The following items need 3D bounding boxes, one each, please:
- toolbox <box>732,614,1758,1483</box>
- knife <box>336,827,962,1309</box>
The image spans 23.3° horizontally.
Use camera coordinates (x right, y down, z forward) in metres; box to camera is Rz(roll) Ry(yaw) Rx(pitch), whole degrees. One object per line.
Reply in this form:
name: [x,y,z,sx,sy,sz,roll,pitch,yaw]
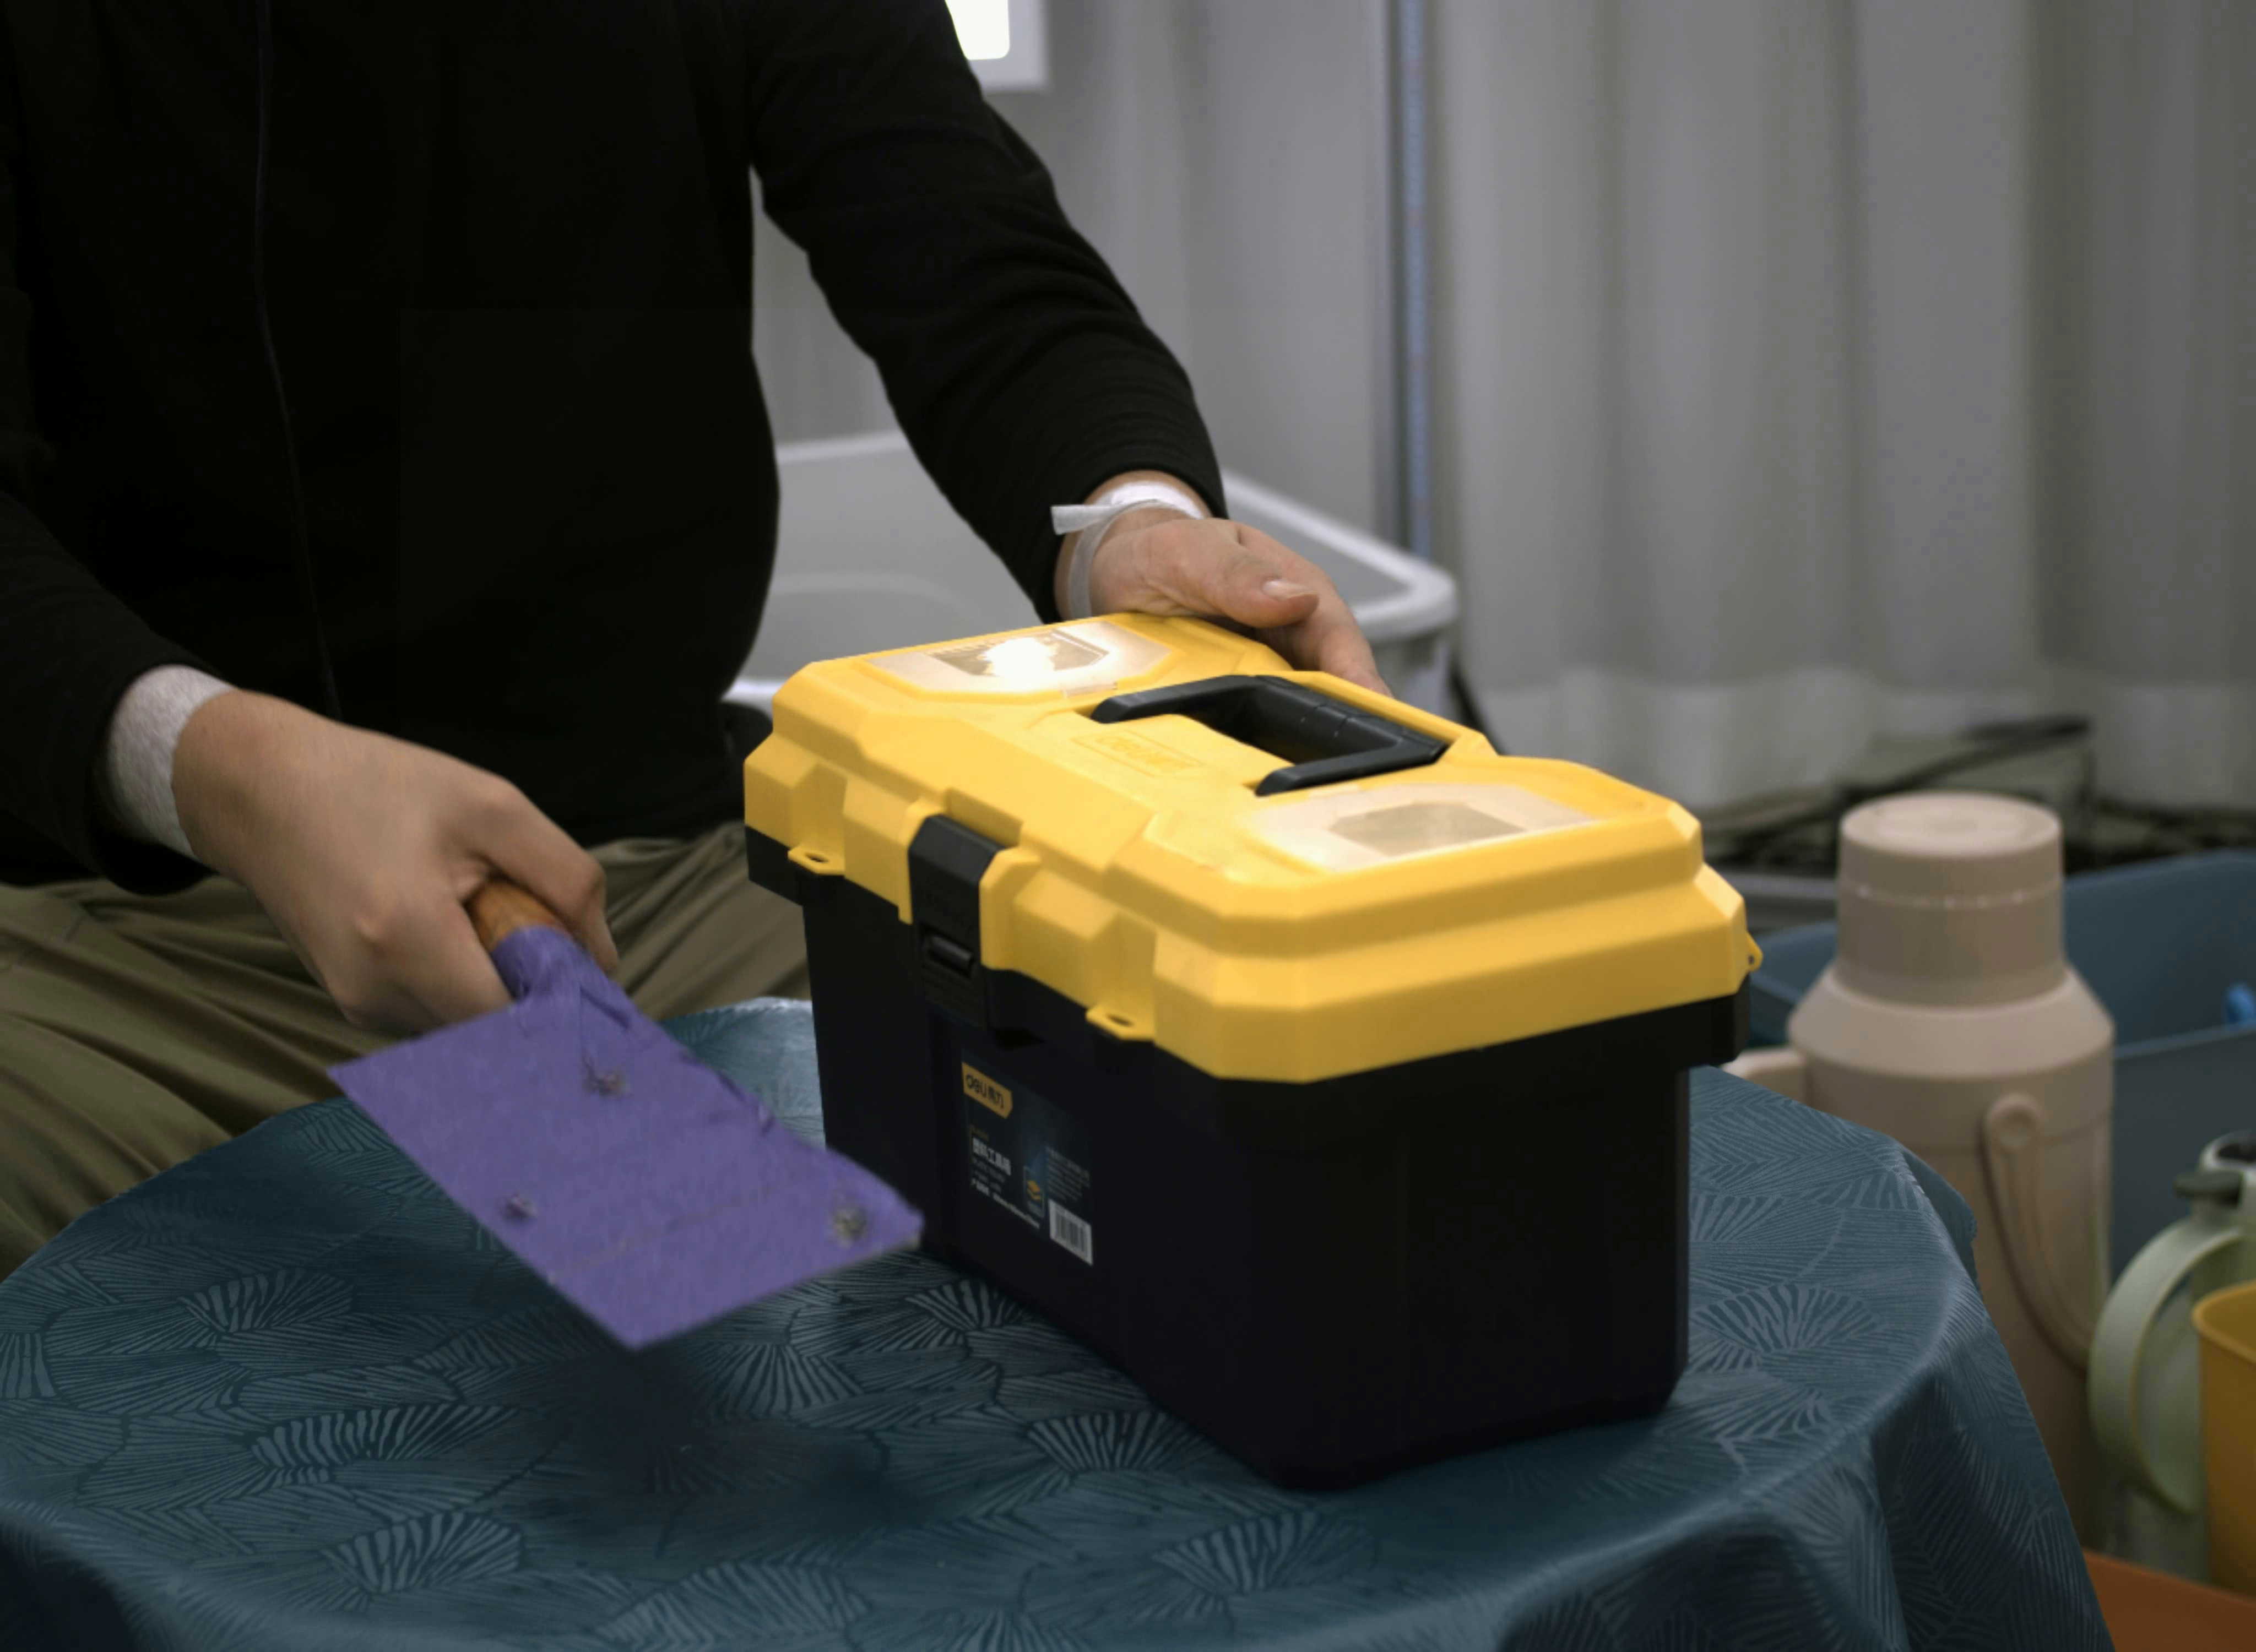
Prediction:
toolbox: [0.027,0.056,1.597,0.180,0.172,0.354,-9,15,-25]
knife: [-0.168,0.065,1.562,0.103,0.032,0.318,-18,25,-27]
